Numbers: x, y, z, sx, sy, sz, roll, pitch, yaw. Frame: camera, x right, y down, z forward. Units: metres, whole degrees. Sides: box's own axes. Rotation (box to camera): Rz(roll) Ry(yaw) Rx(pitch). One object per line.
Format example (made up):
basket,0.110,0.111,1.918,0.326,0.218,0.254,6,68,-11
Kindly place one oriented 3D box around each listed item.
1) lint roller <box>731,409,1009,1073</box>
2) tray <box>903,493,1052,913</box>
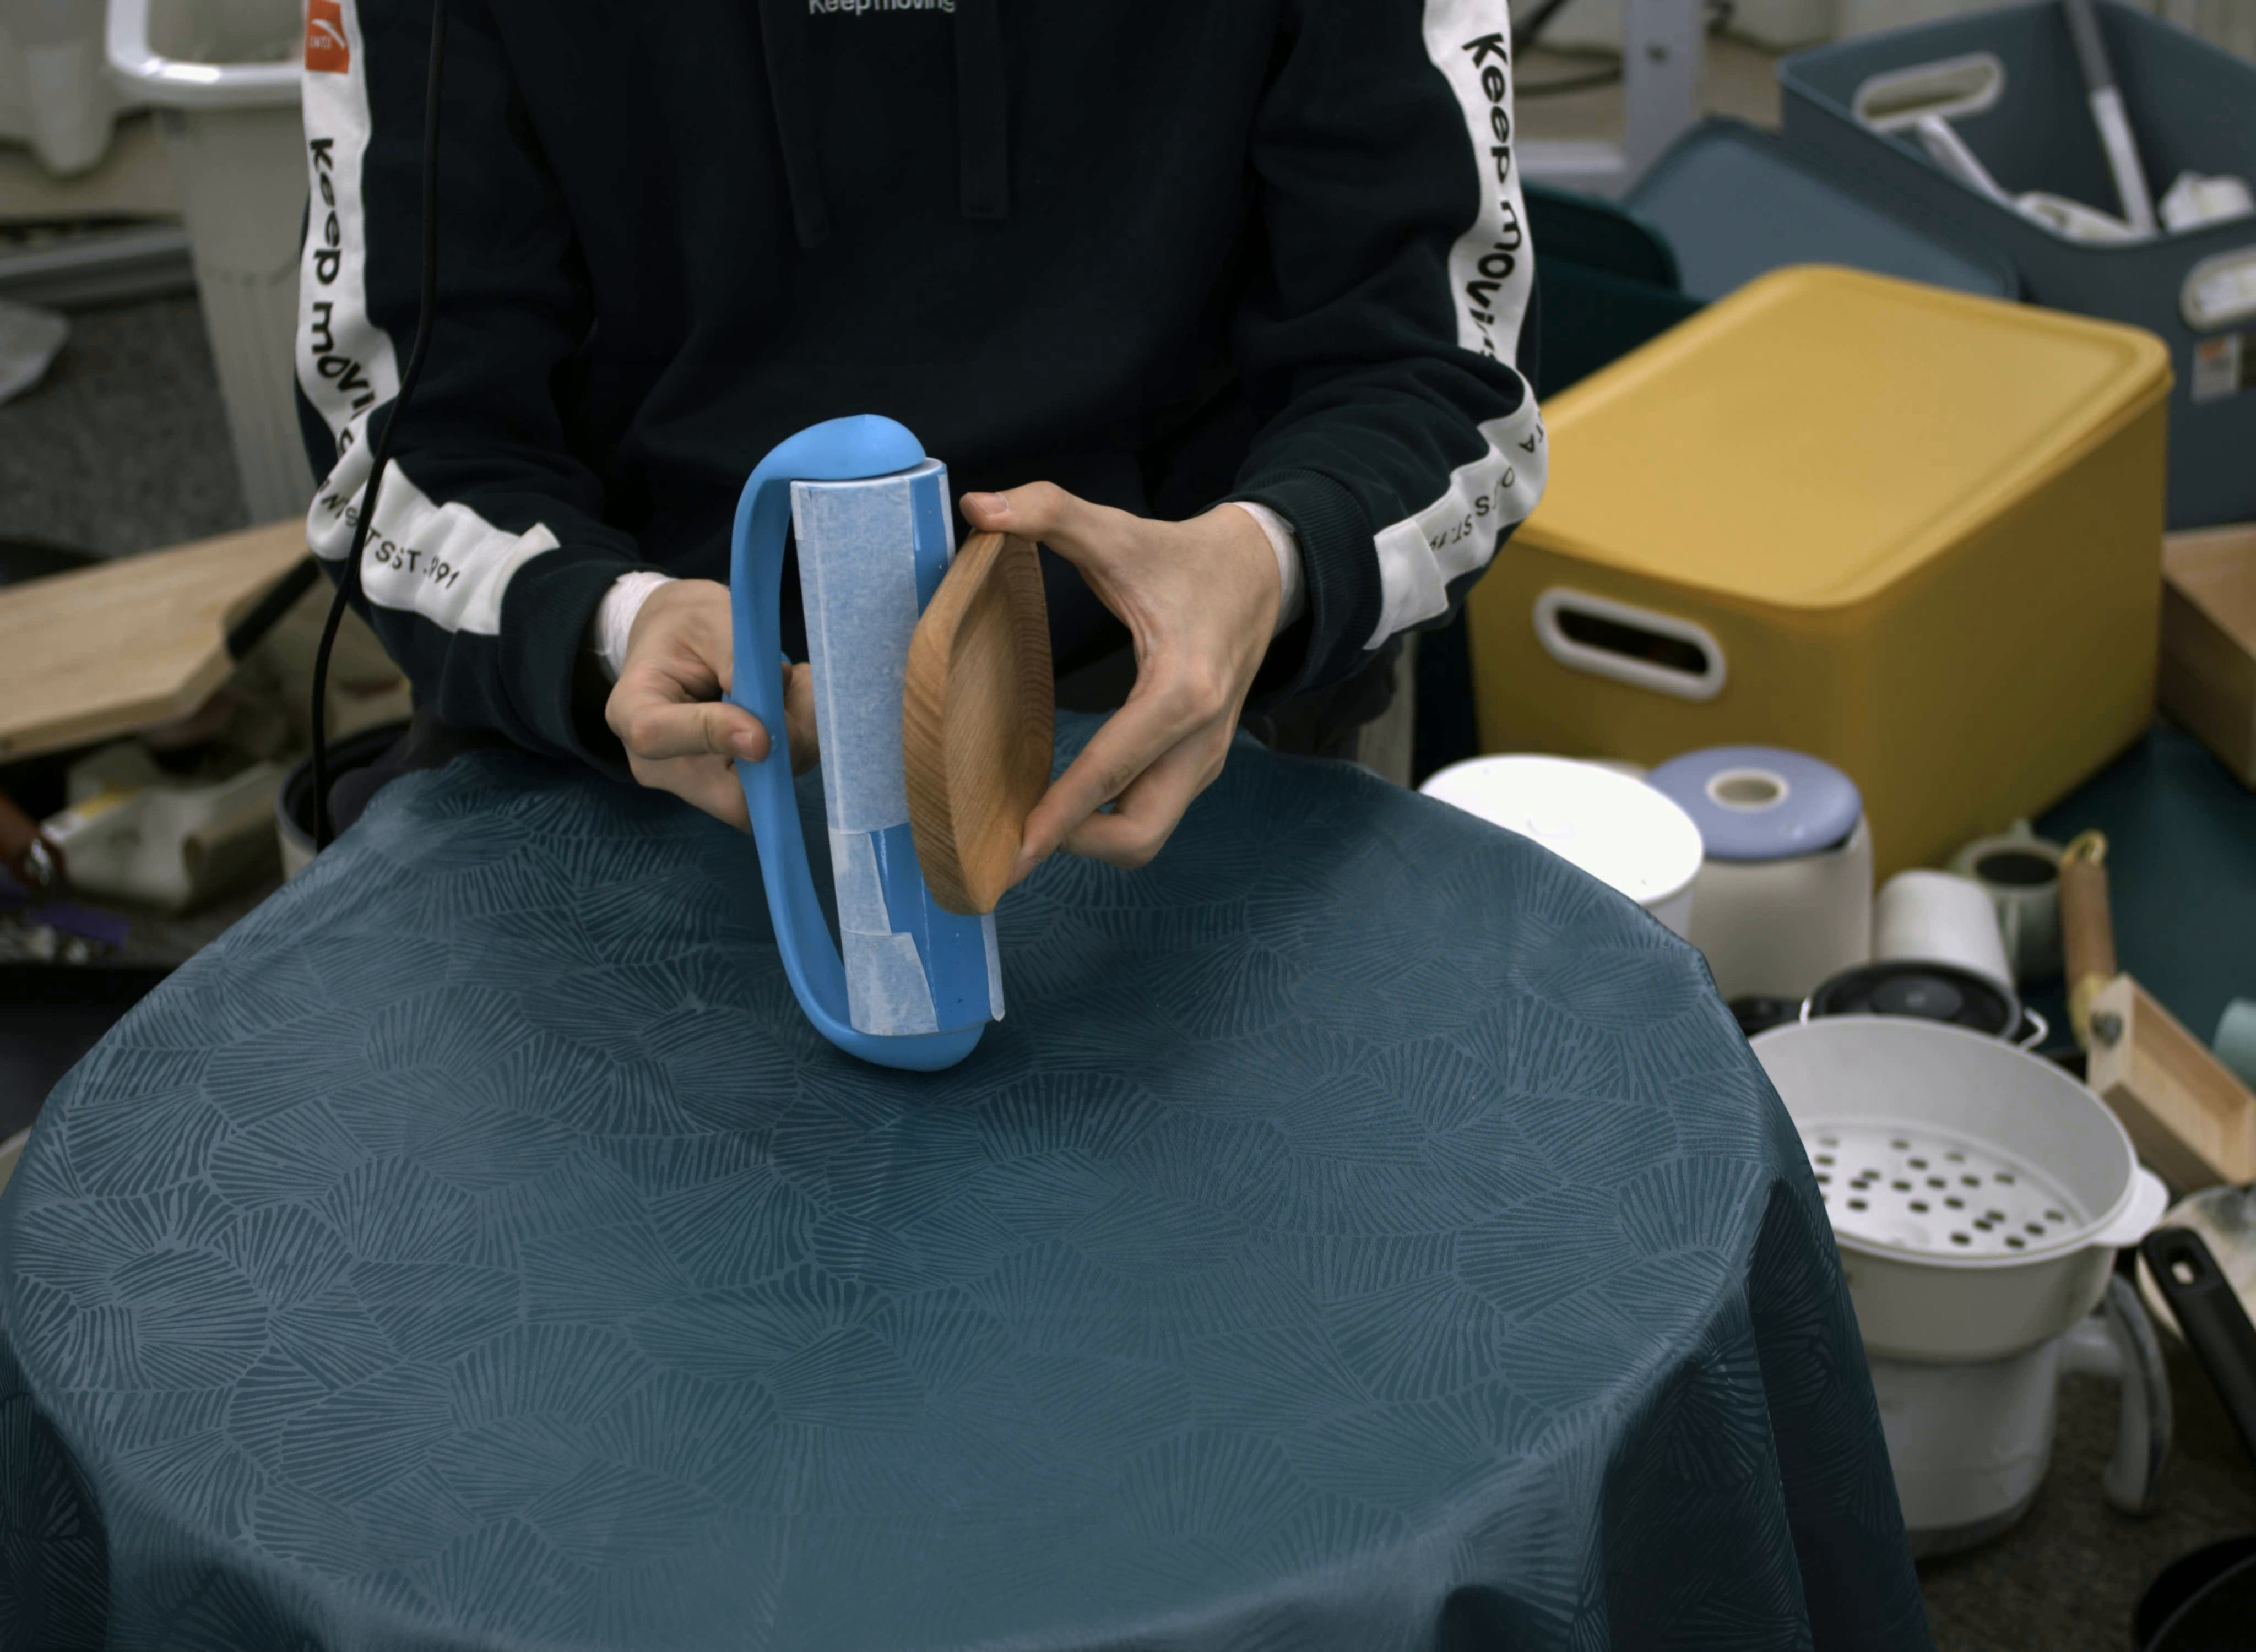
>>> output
lint roller,-0.106,-0.033,1.964,0.068,0.229,0.179,-13,10,-26
tray,-0.049,-0.043,1.886,0.020,0.101,0.234,-4,18,7
